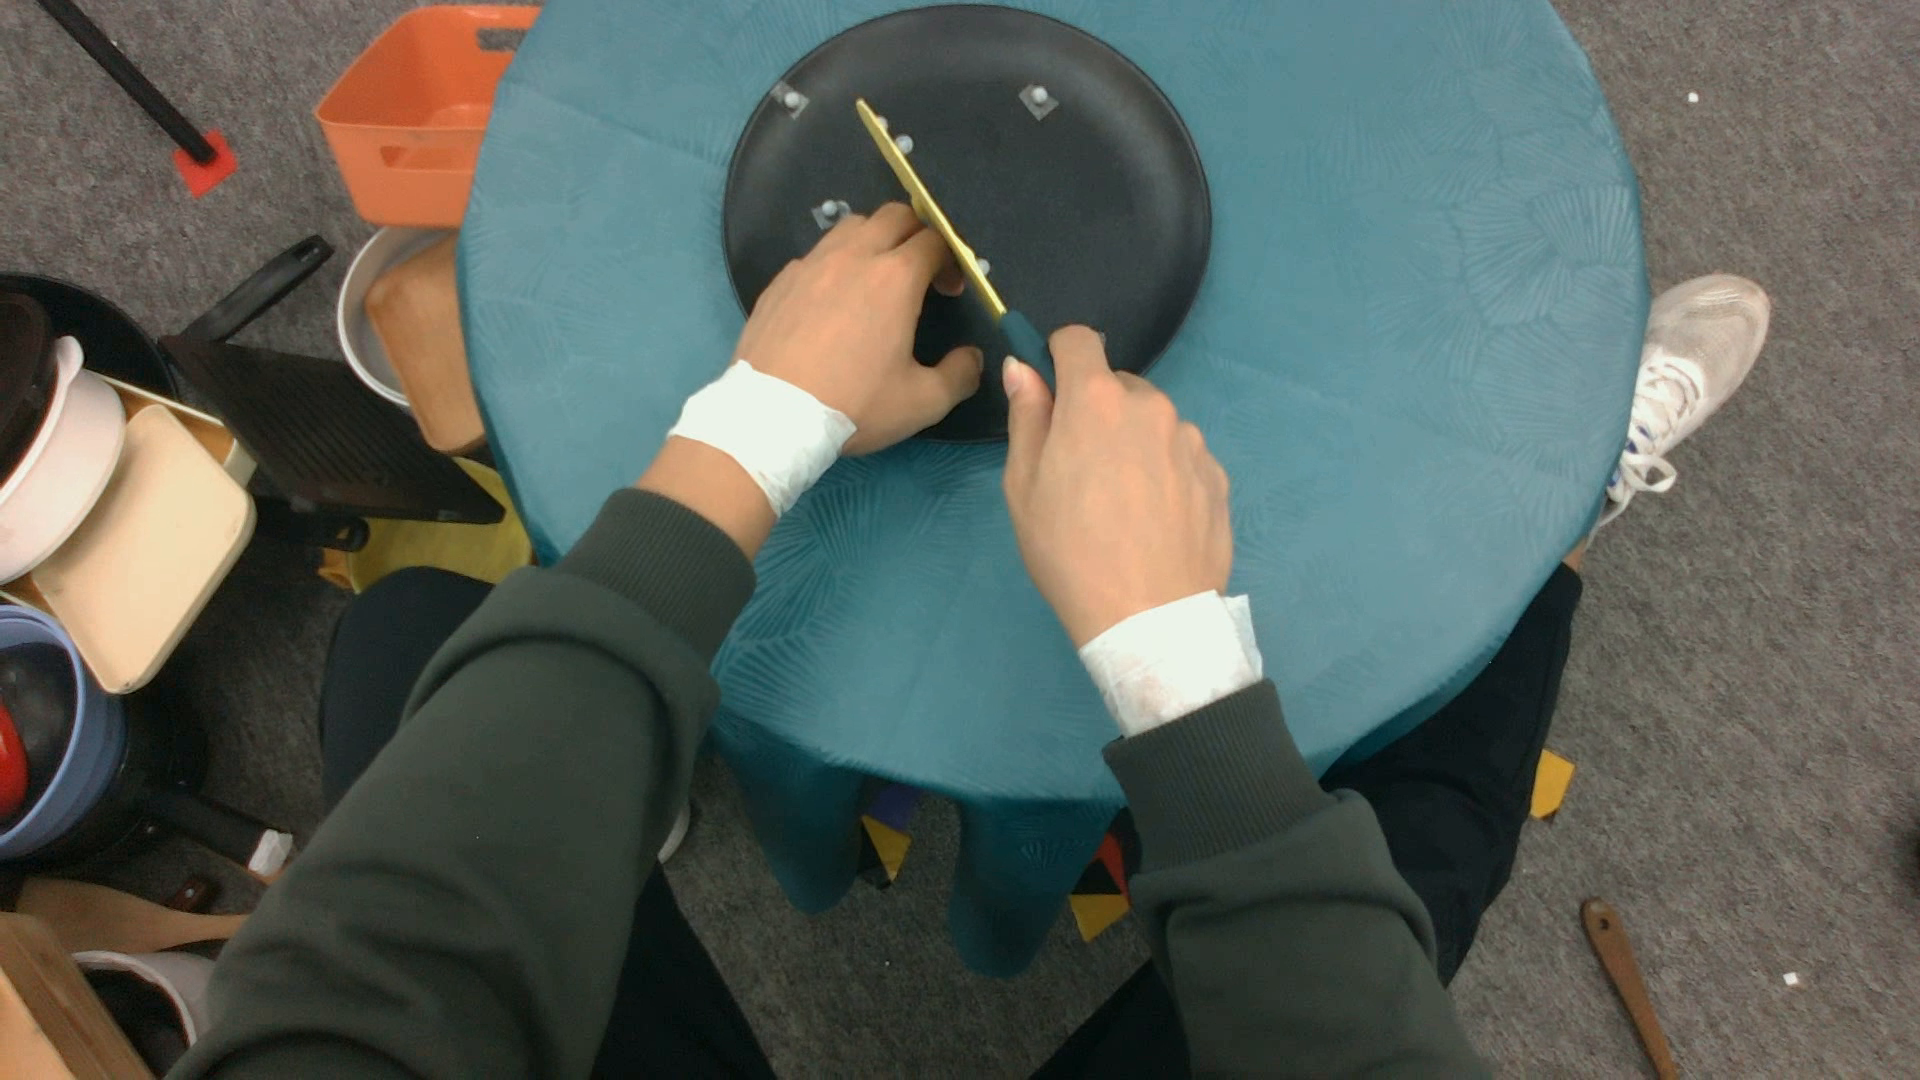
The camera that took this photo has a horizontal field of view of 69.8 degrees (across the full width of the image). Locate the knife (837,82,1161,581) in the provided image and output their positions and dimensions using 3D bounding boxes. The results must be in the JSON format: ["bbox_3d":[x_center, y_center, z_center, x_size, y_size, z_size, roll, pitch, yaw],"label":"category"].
[{"bbox_3d":[0.010,-0.101,0.618,0.027,0.081,0.290,-32,70,5],"label":"knife"}]

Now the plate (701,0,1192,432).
[{"bbox_3d":[-0.006,-0.166,0.691,0.244,0.023,0.245,0,73,-1],"label":"plate"}]
